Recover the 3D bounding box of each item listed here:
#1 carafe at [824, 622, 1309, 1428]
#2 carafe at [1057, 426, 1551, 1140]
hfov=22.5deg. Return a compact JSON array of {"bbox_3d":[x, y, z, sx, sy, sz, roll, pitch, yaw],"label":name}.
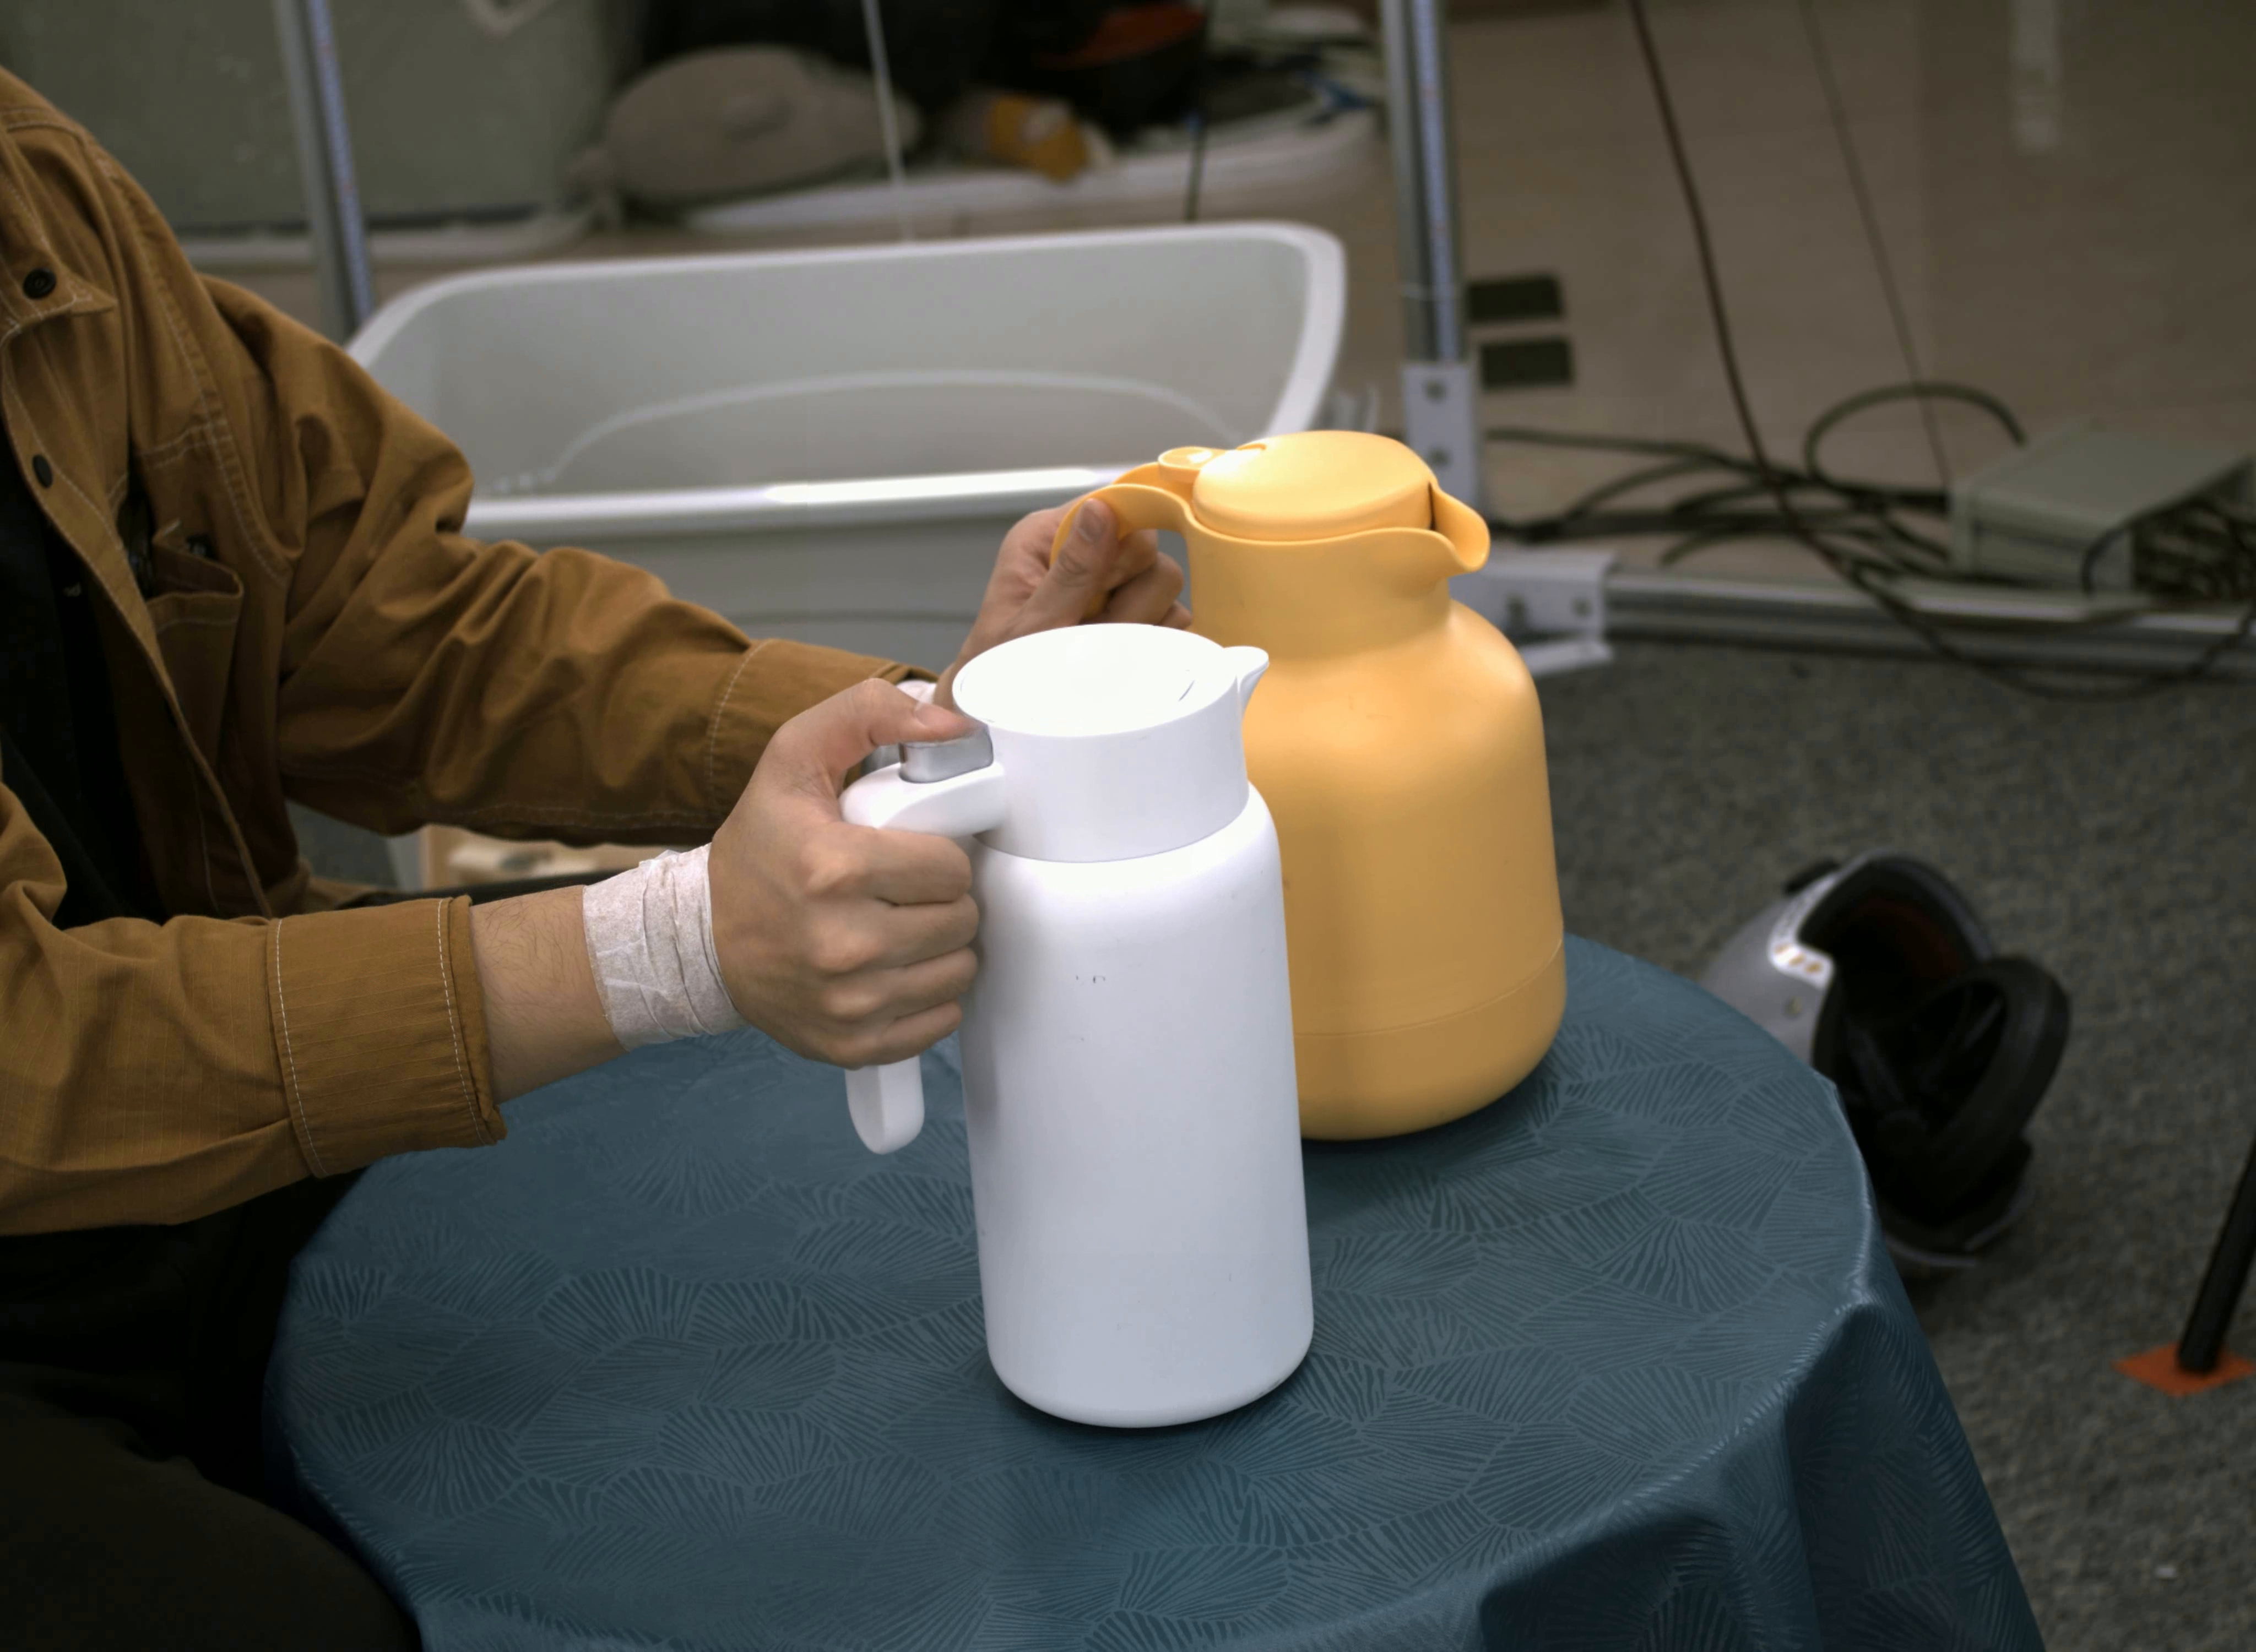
[{"bbox_3d":[-0.016,0.074,1.967,0.172,0.273,0.122,-18,31,-27],"label":"carafe"},{"bbox_3d":[0.063,-0.025,2.170,0.201,0.264,0.162,16,30,35],"label":"carafe"}]
